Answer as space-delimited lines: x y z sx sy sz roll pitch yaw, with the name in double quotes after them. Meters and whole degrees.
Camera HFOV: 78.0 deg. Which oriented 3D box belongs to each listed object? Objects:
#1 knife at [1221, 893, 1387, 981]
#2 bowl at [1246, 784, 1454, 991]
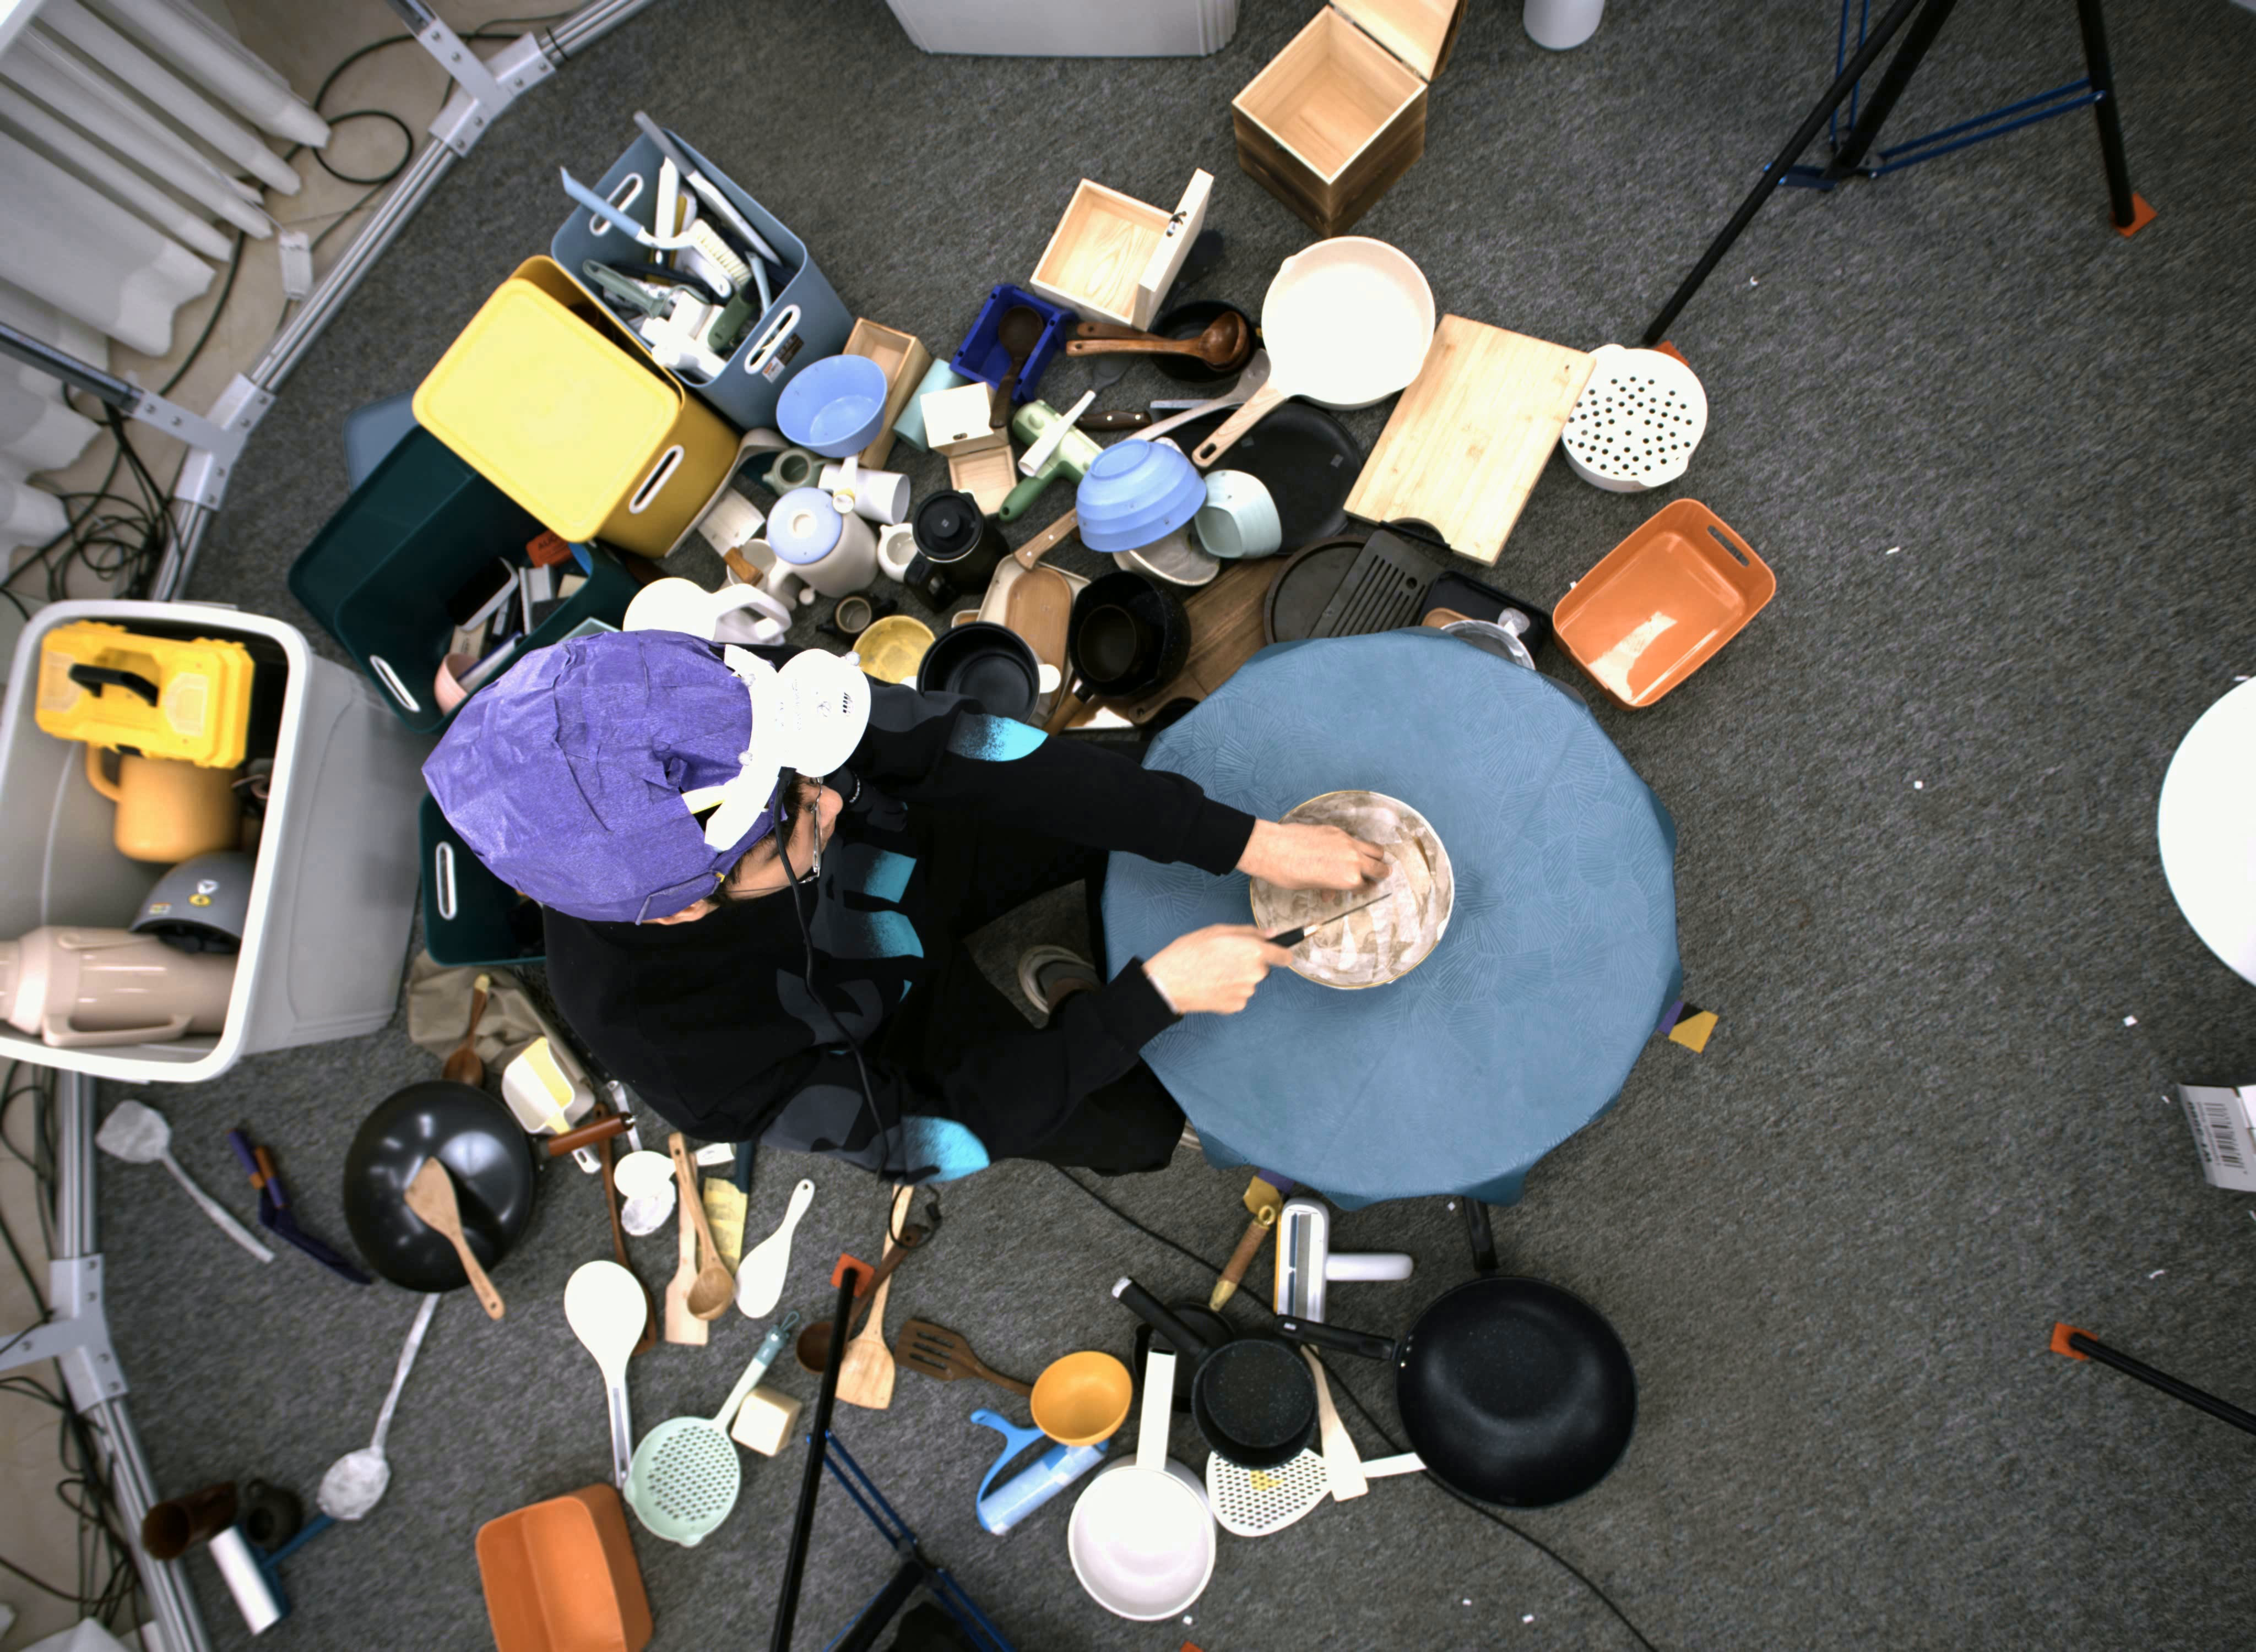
0.178 0.104 1.359 0.222 0.026 0.017 -22 85 -29 "knife"
0.225 0.066 1.419 0.215 0.095 0.213 -1 85 9 "bowl"
